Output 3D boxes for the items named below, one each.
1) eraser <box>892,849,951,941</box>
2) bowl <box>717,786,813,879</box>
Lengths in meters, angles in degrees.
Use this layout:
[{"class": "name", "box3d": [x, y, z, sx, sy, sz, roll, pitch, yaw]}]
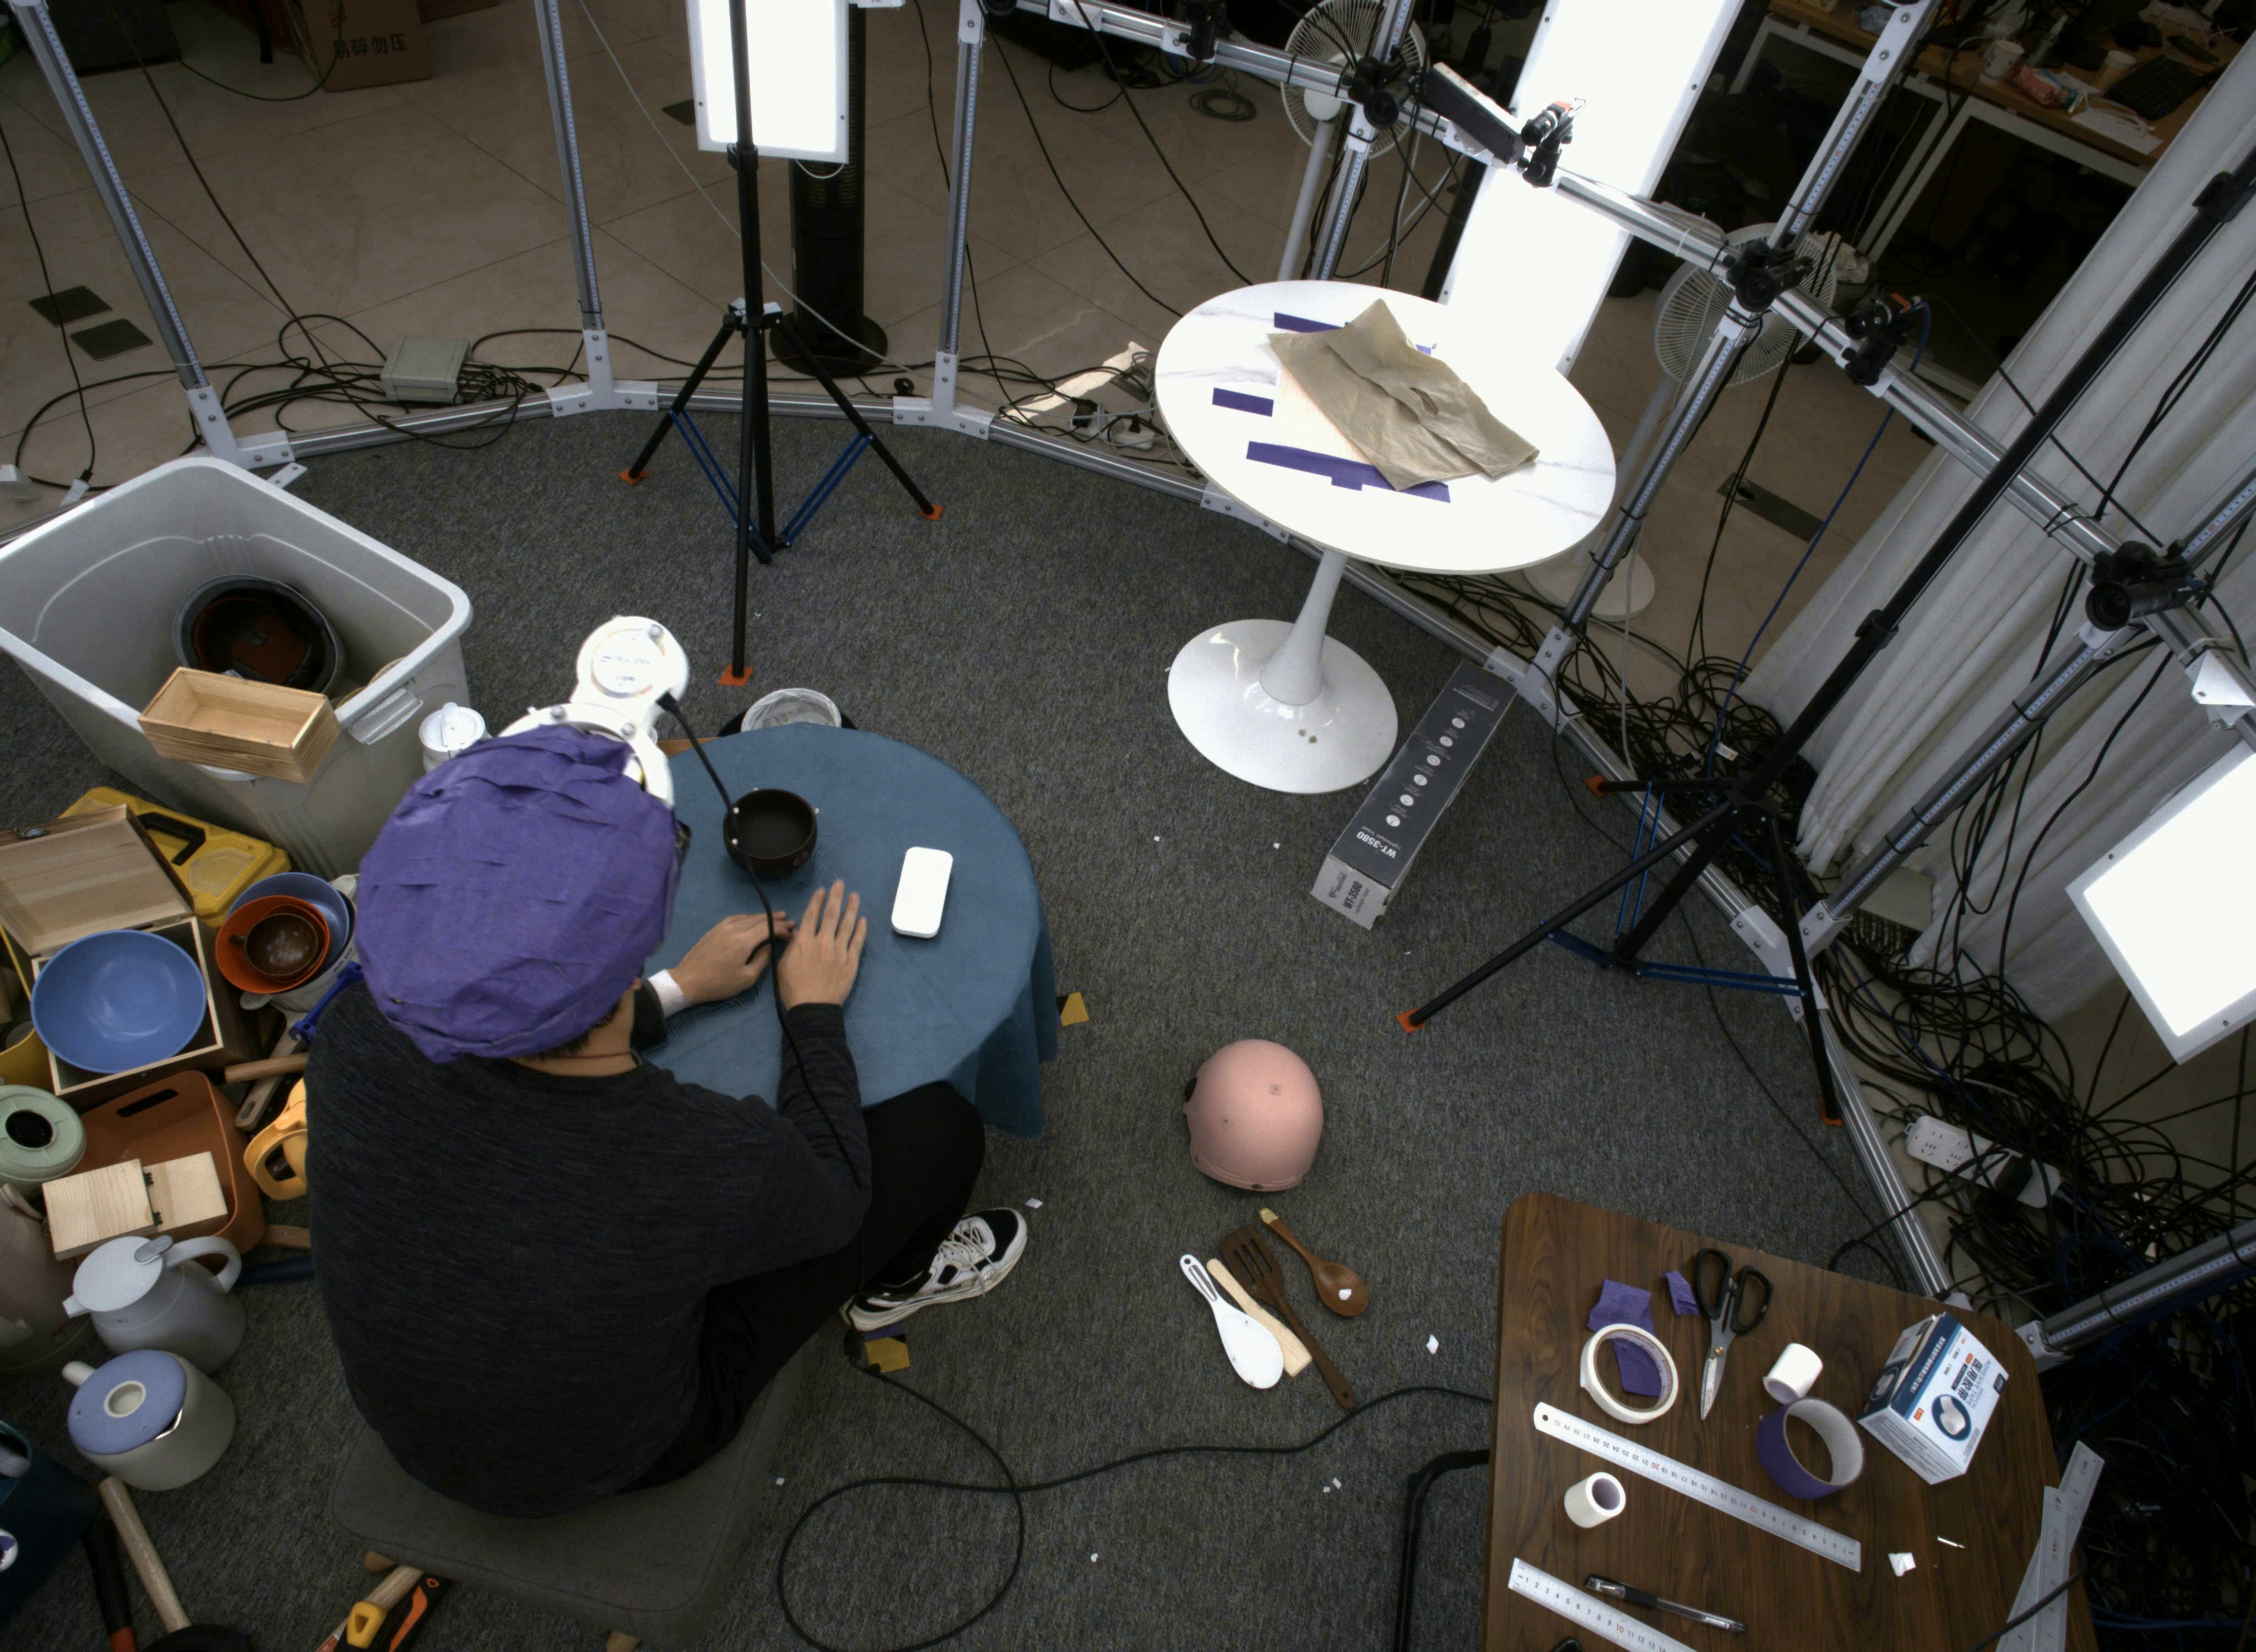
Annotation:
[{"class": "eraser", "box3d": [-0.266, 0.085, 1.677, 0.063, 0.035, 0.129, 9, 51, -5]}, {"class": "bowl", "box3d": [-0.463, 0.014, 1.649, 0.118, 0.070, 0.116, 11, 55, -14]}]
